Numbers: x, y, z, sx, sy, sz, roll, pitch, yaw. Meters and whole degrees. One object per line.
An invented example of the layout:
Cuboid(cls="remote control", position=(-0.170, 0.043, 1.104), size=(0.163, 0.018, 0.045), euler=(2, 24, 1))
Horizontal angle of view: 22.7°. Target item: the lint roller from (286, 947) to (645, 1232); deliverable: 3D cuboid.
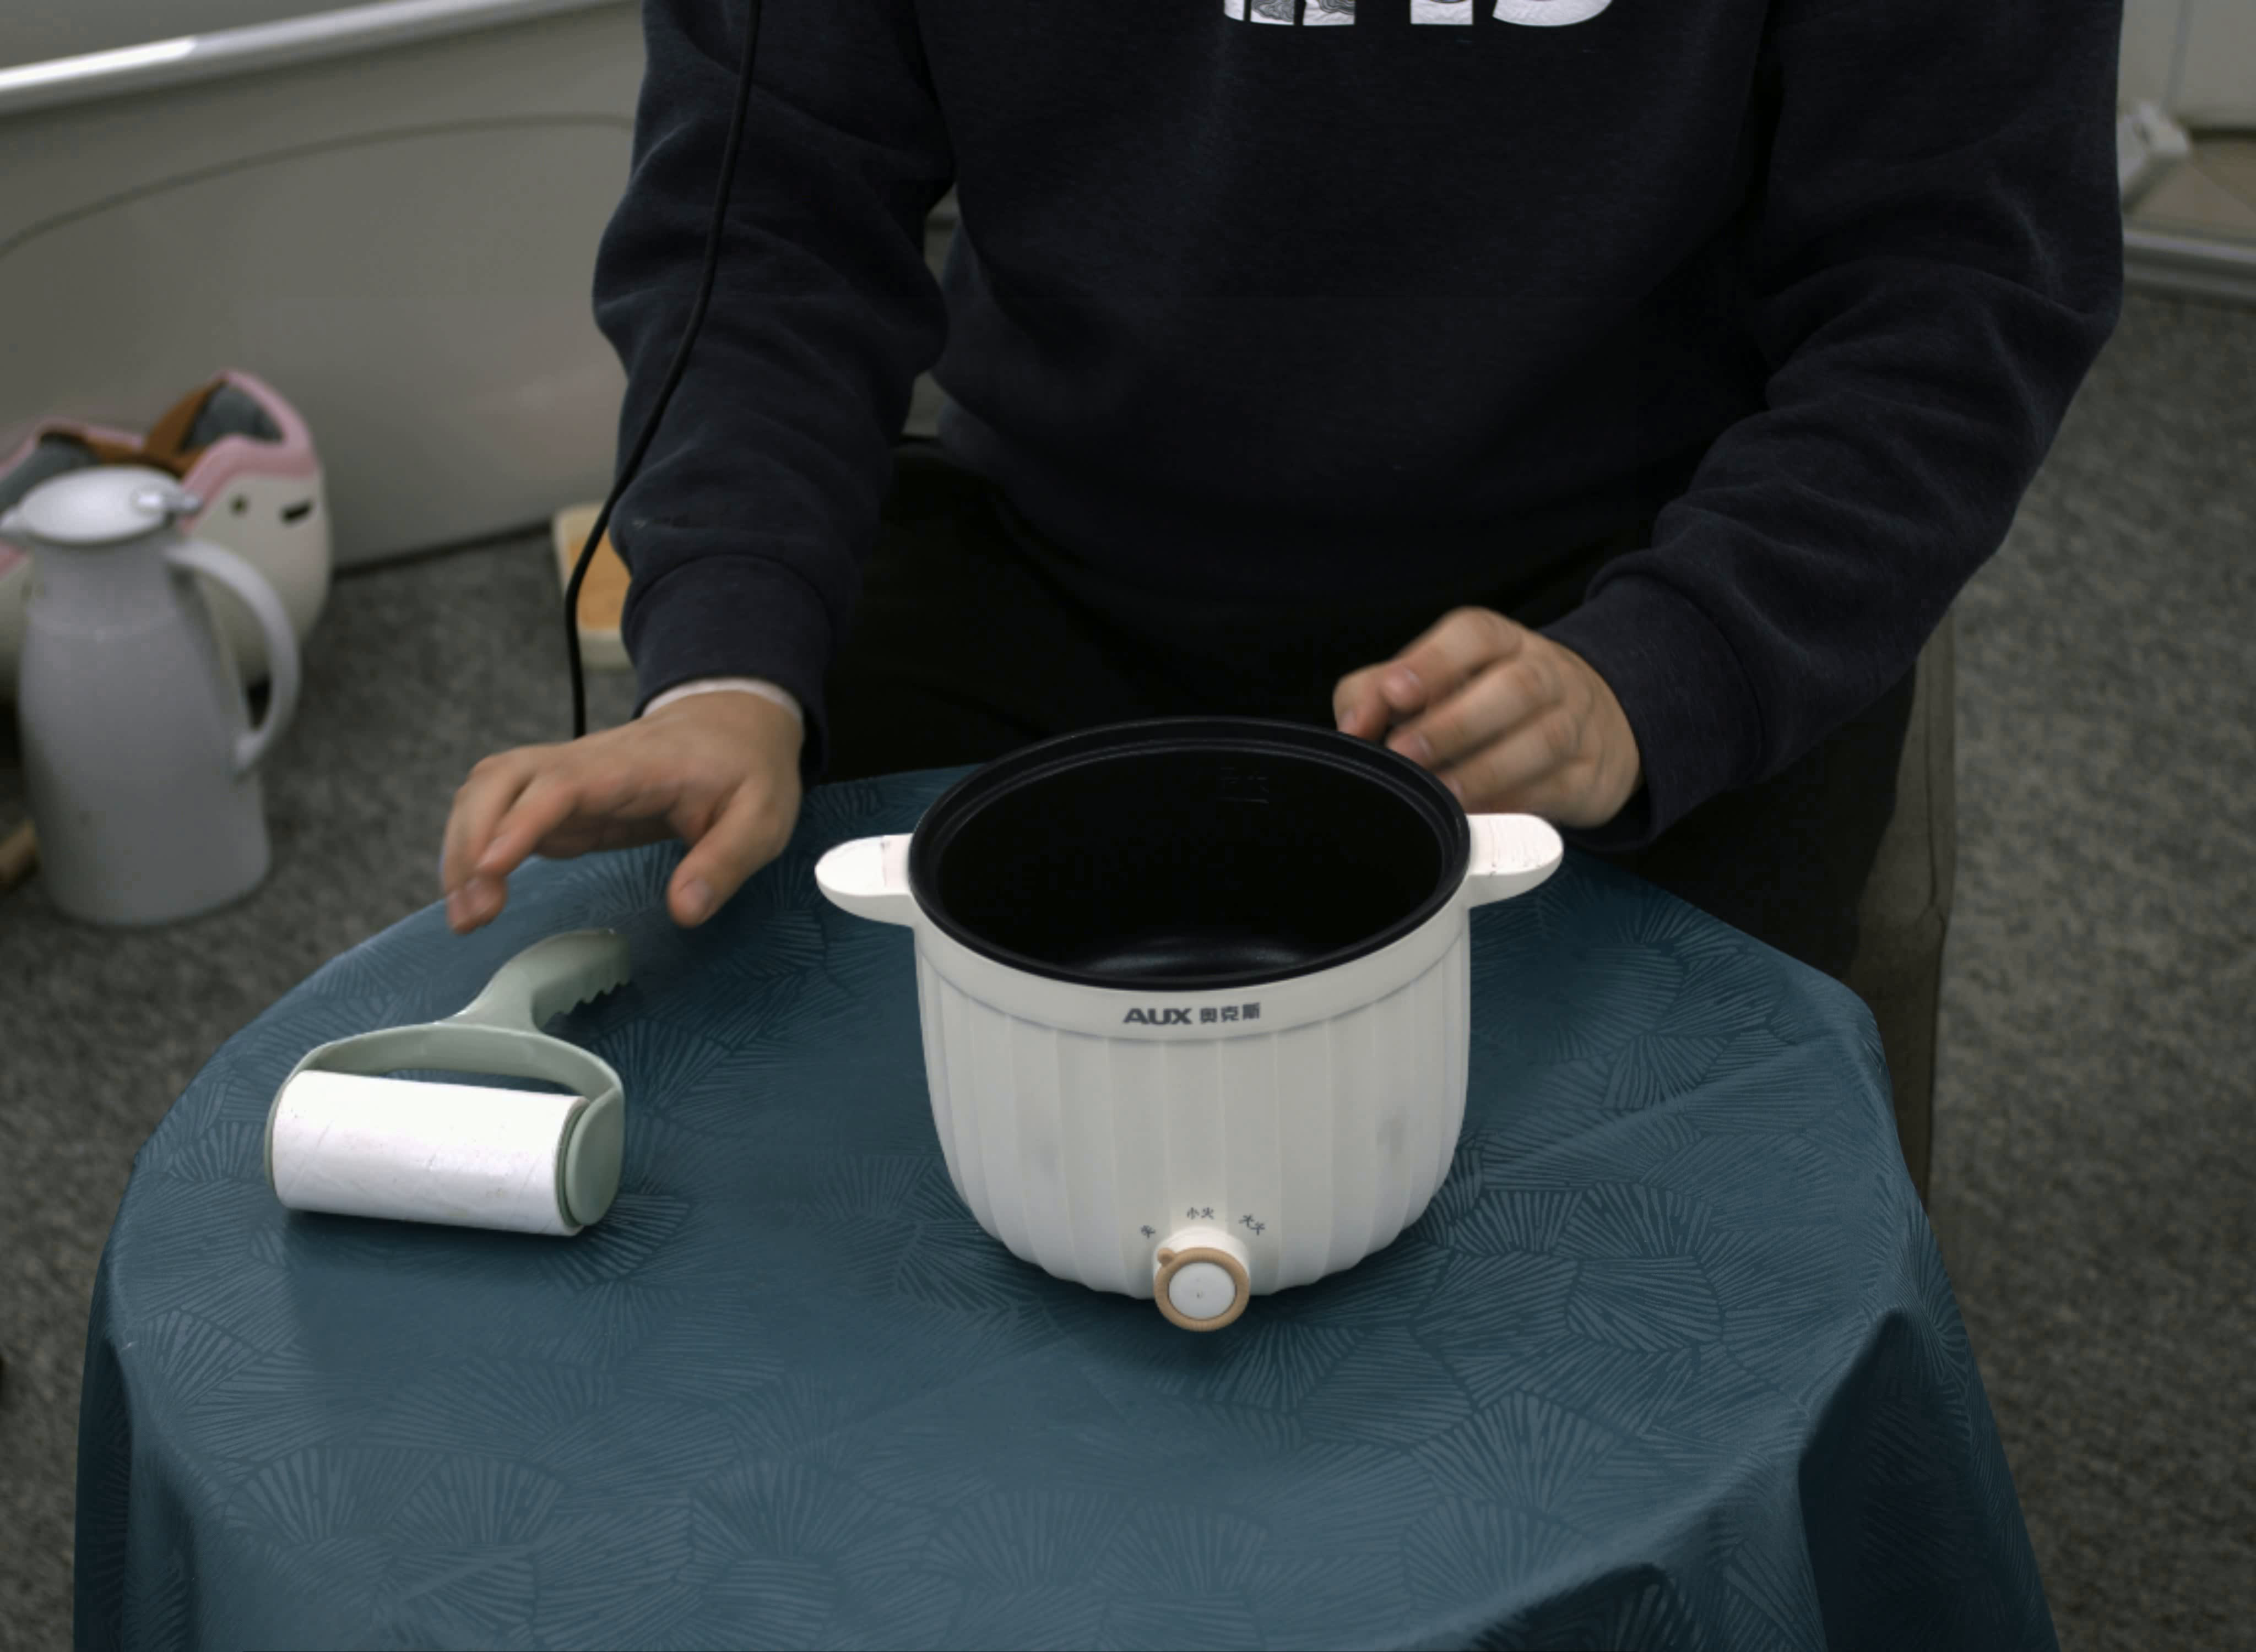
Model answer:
Cuboid(cls="lint roller", position=(-0.203, 0.078, 1.921), size=(0.116, 0.048, 0.201), euler=(1, 26, 15))

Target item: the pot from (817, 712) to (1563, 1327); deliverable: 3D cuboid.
Cuboid(cls="pot", position=(0.024, 0.065, 1.823), size=(0.239, 0.141, 0.193), euler=(-4, 24, 1))
